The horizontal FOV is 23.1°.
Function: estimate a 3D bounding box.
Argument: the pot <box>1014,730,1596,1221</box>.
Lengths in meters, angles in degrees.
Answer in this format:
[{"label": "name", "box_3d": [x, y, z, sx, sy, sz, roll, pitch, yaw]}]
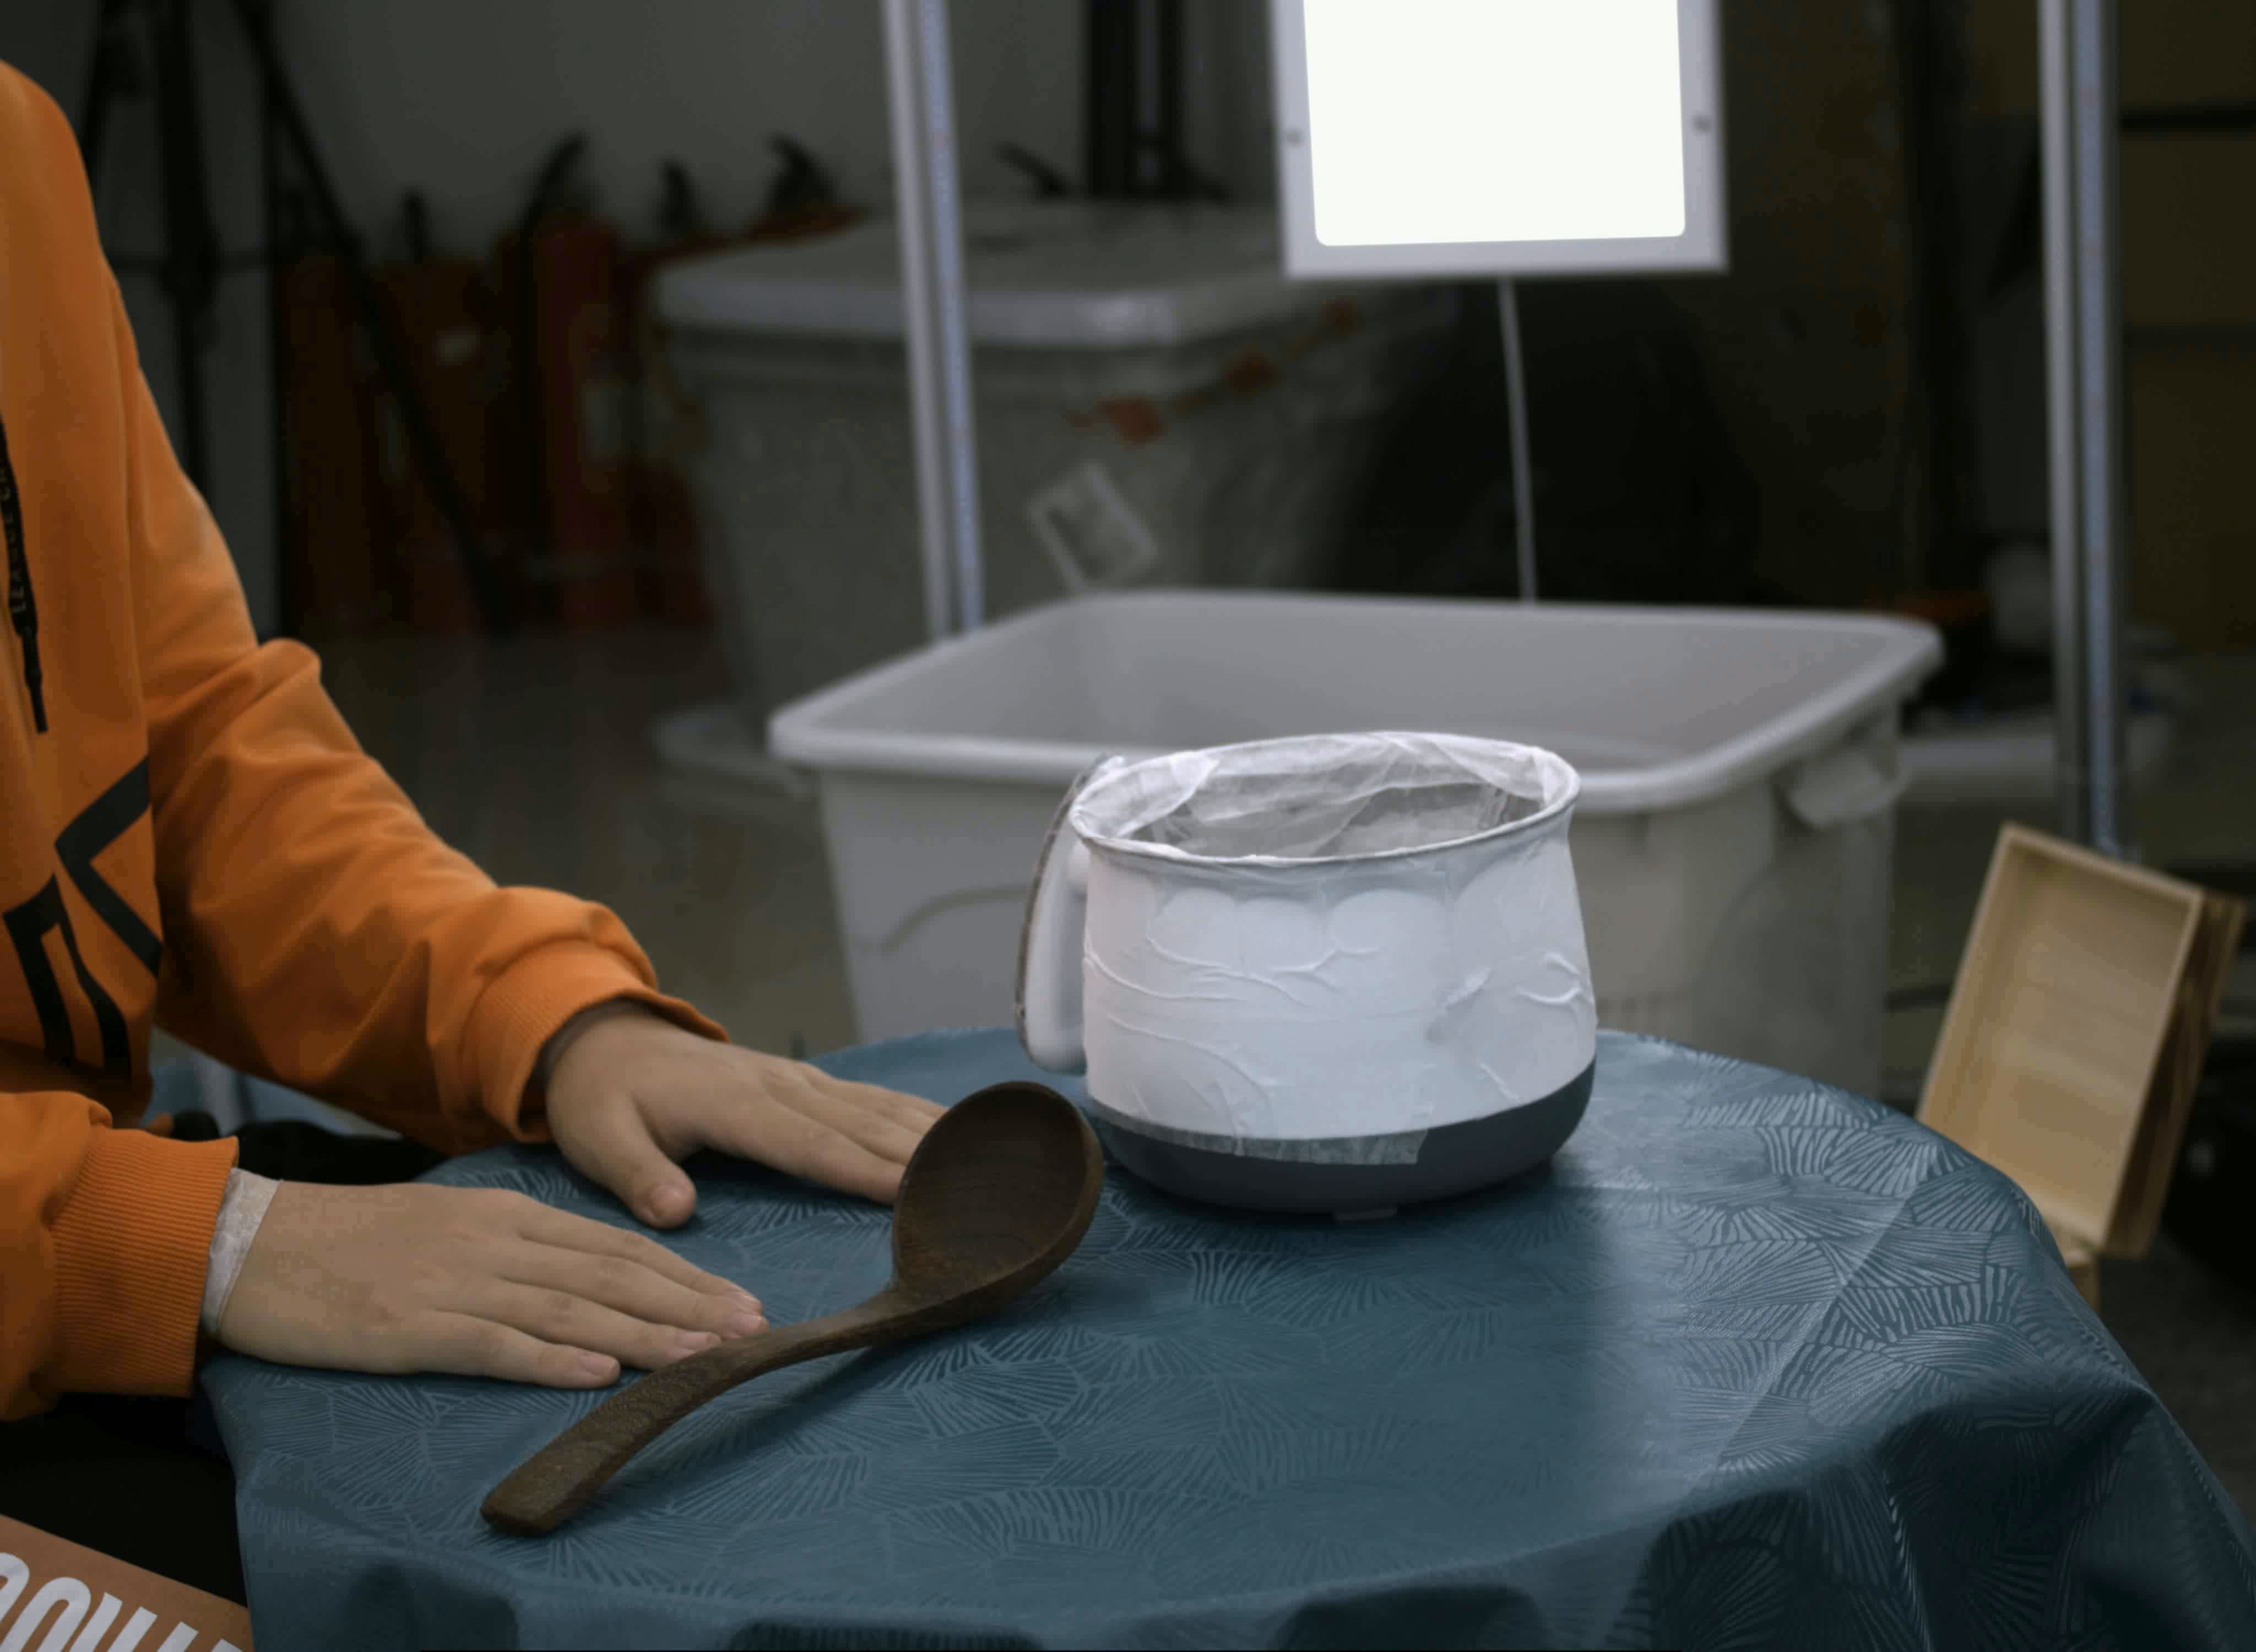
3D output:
[{"label": "pot", "box_3d": [0.051, 0.047, 1.913, 0.239, 0.137, 0.174, 8, 18, 41]}]

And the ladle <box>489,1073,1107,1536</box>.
[{"label": "ladle", "box_3d": [-0.104, 0.144, 1.719, 0.077, 0.071, 0.267, 3, 15, 38]}]
